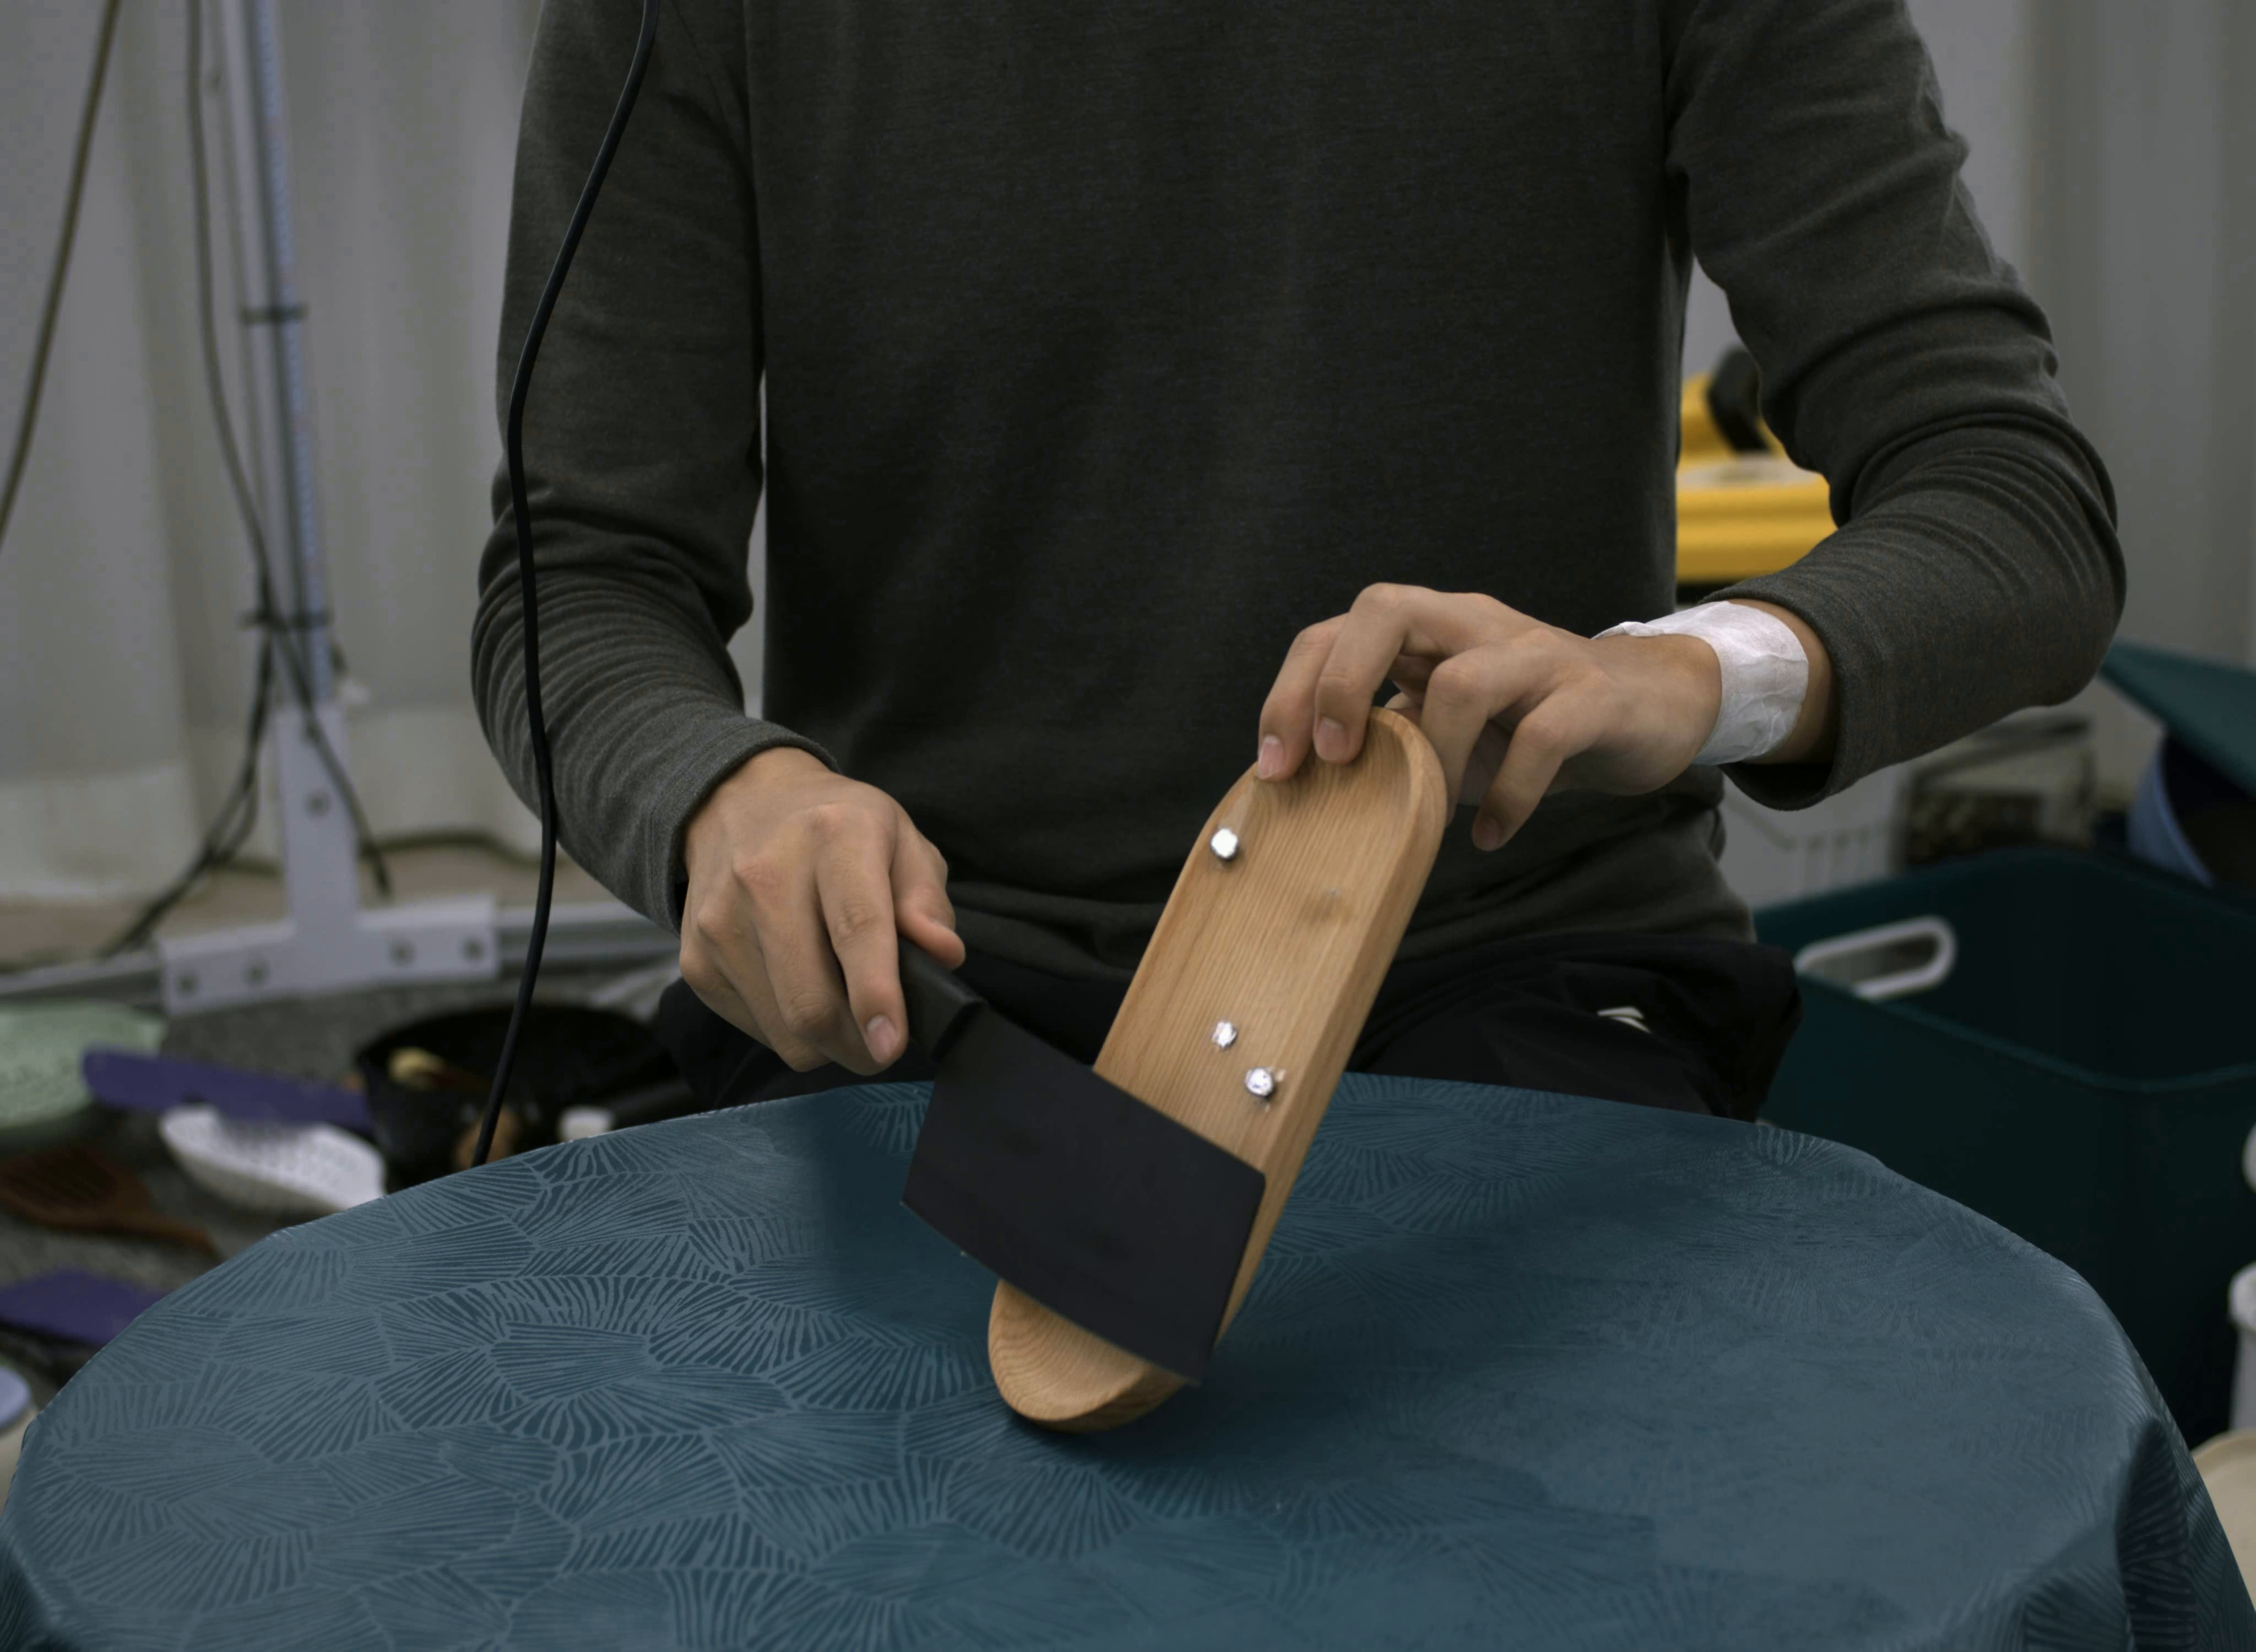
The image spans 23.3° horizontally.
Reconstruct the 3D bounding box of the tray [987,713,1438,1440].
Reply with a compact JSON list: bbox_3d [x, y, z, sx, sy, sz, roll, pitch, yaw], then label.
[{"bbox_3d":[0.025,0.069,1.544,0.020,0.233,0.102,35,-25,-29],"label":"tray"}]

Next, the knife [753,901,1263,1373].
[{"bbox_3d":[-0.041,0.082,1.572,0.020,0.081,0.305,15,10,-31],"label":"knife"}]
